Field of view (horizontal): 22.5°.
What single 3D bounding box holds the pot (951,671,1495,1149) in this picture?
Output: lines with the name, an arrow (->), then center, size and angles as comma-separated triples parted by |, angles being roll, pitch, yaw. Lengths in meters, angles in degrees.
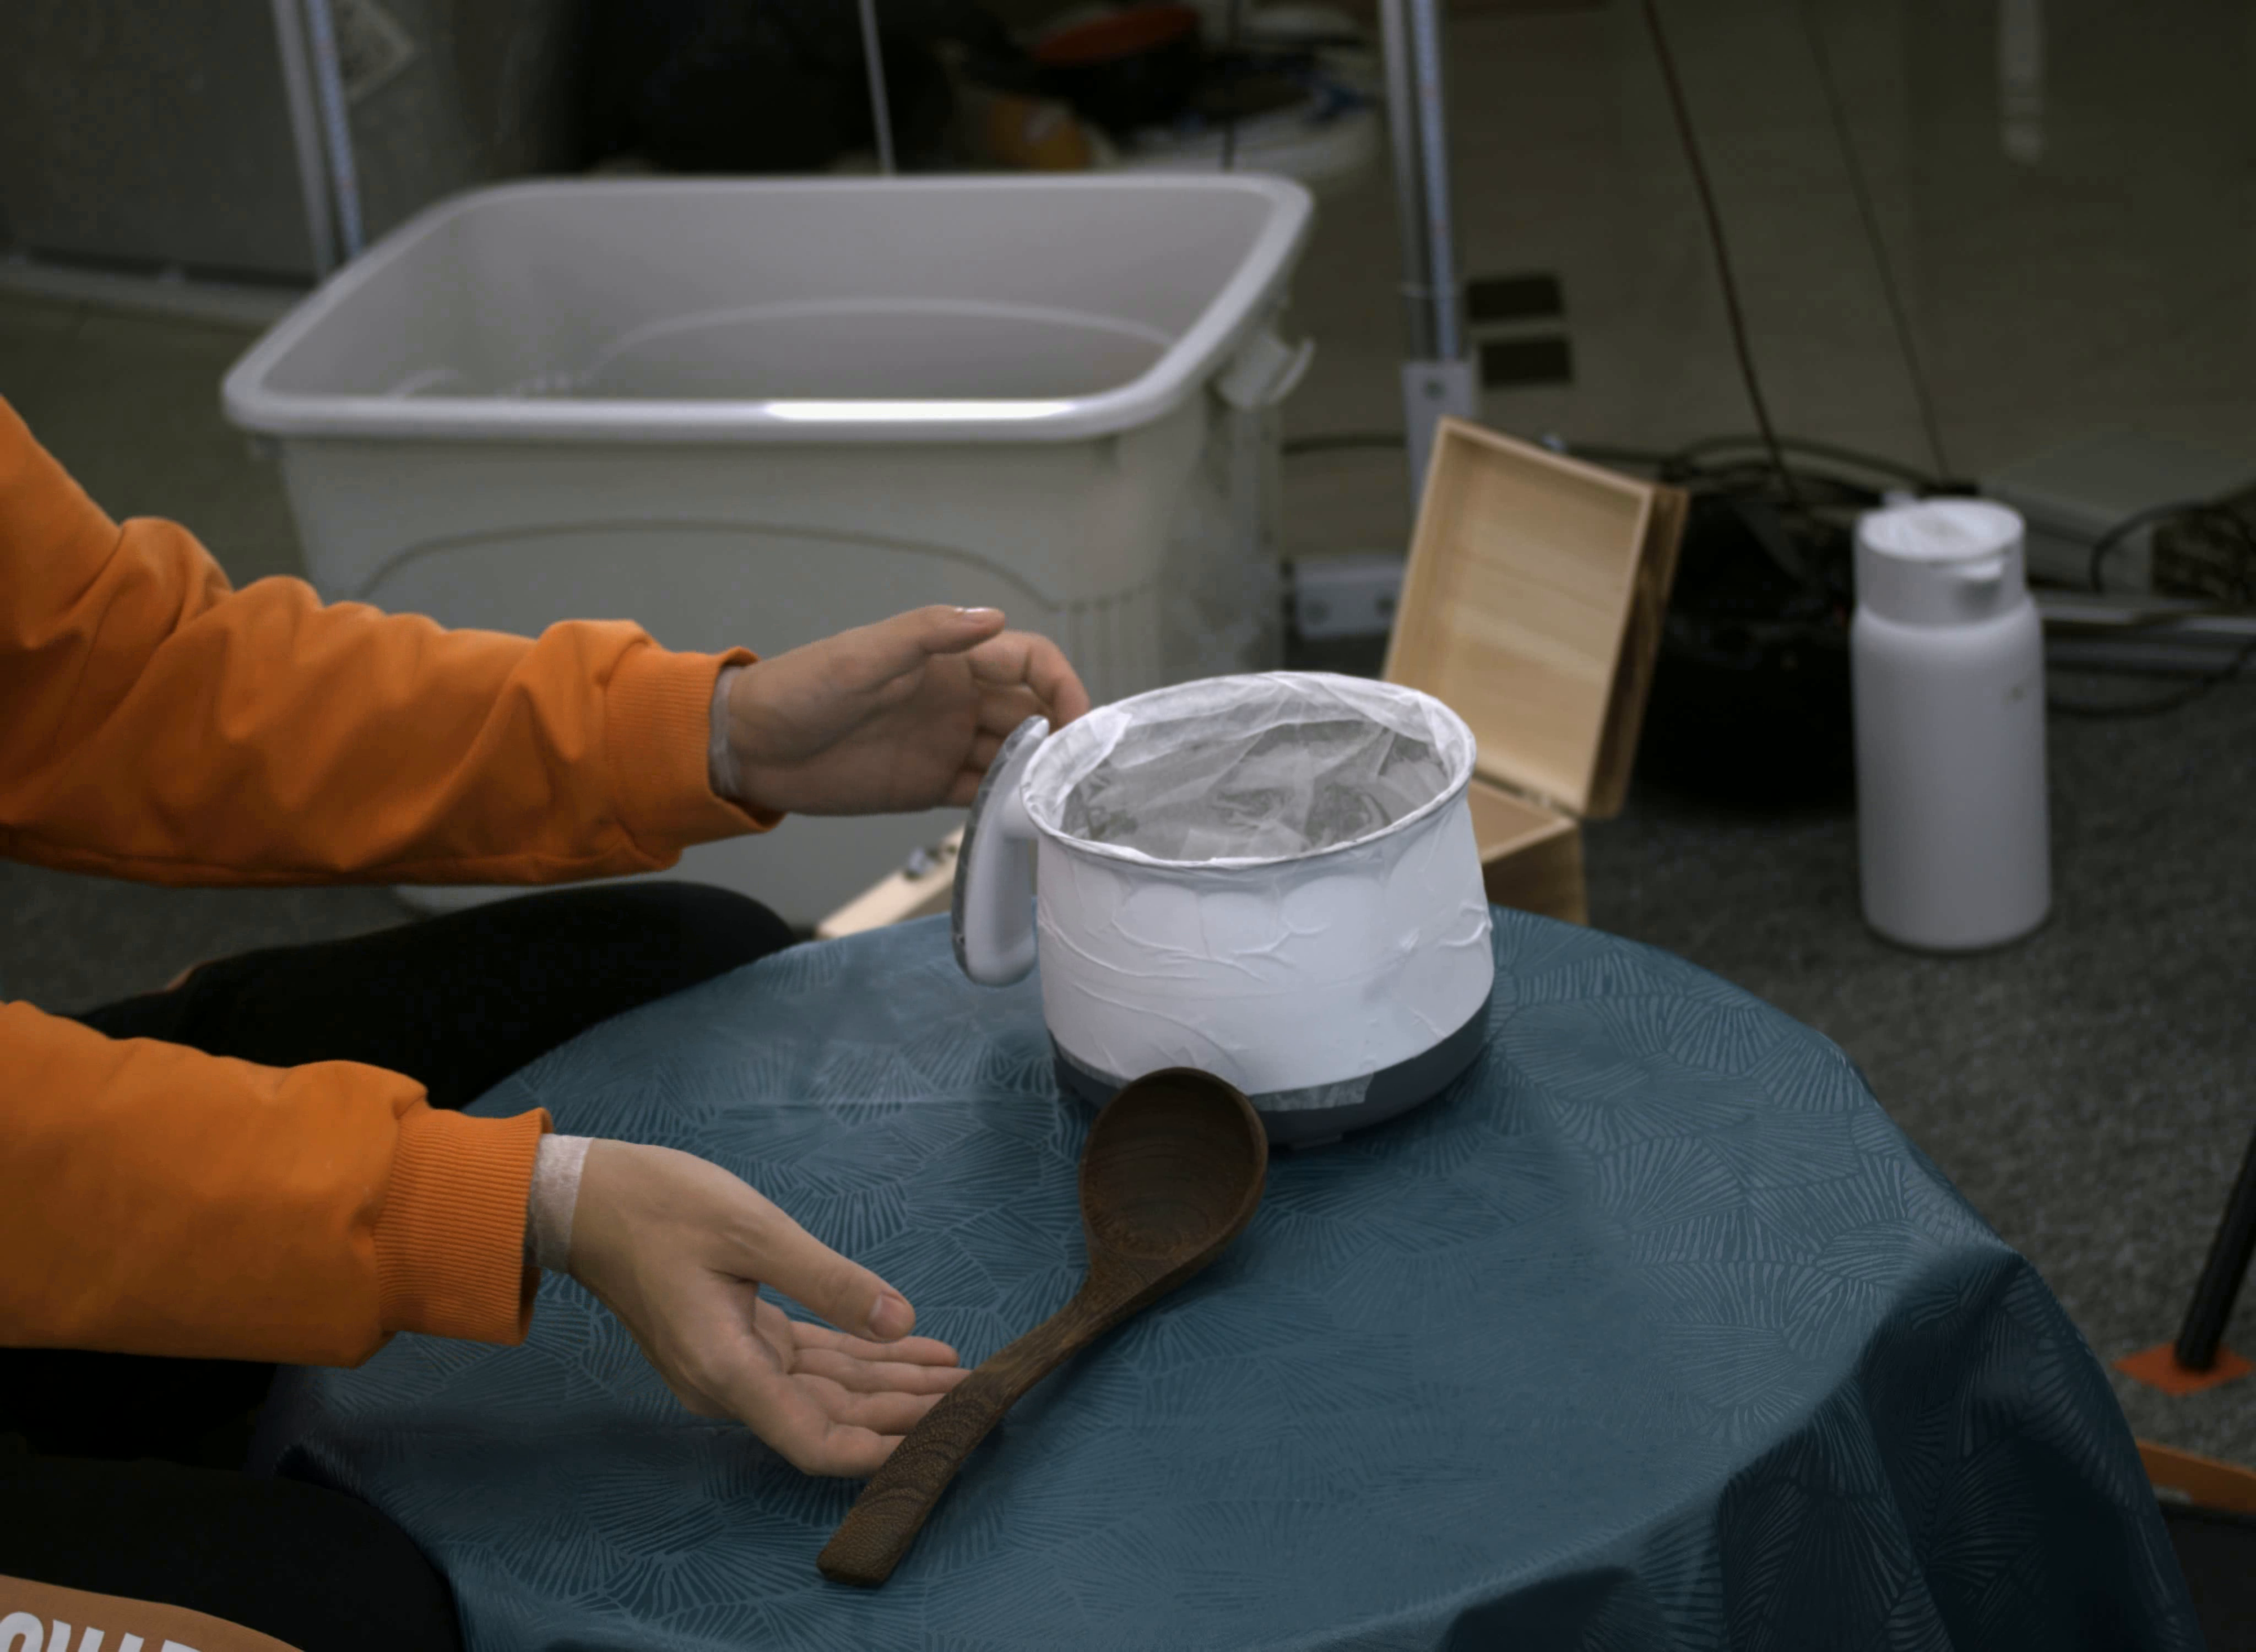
pot -> 0.029, 0.030, 2.209 | 0.232, 0.139, 0.176 | 10, 29, 31

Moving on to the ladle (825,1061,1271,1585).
ladle -> -0.033, 0.170, 2.006 | 0.076, 0.072, 0.271 | 5, 27, 30
